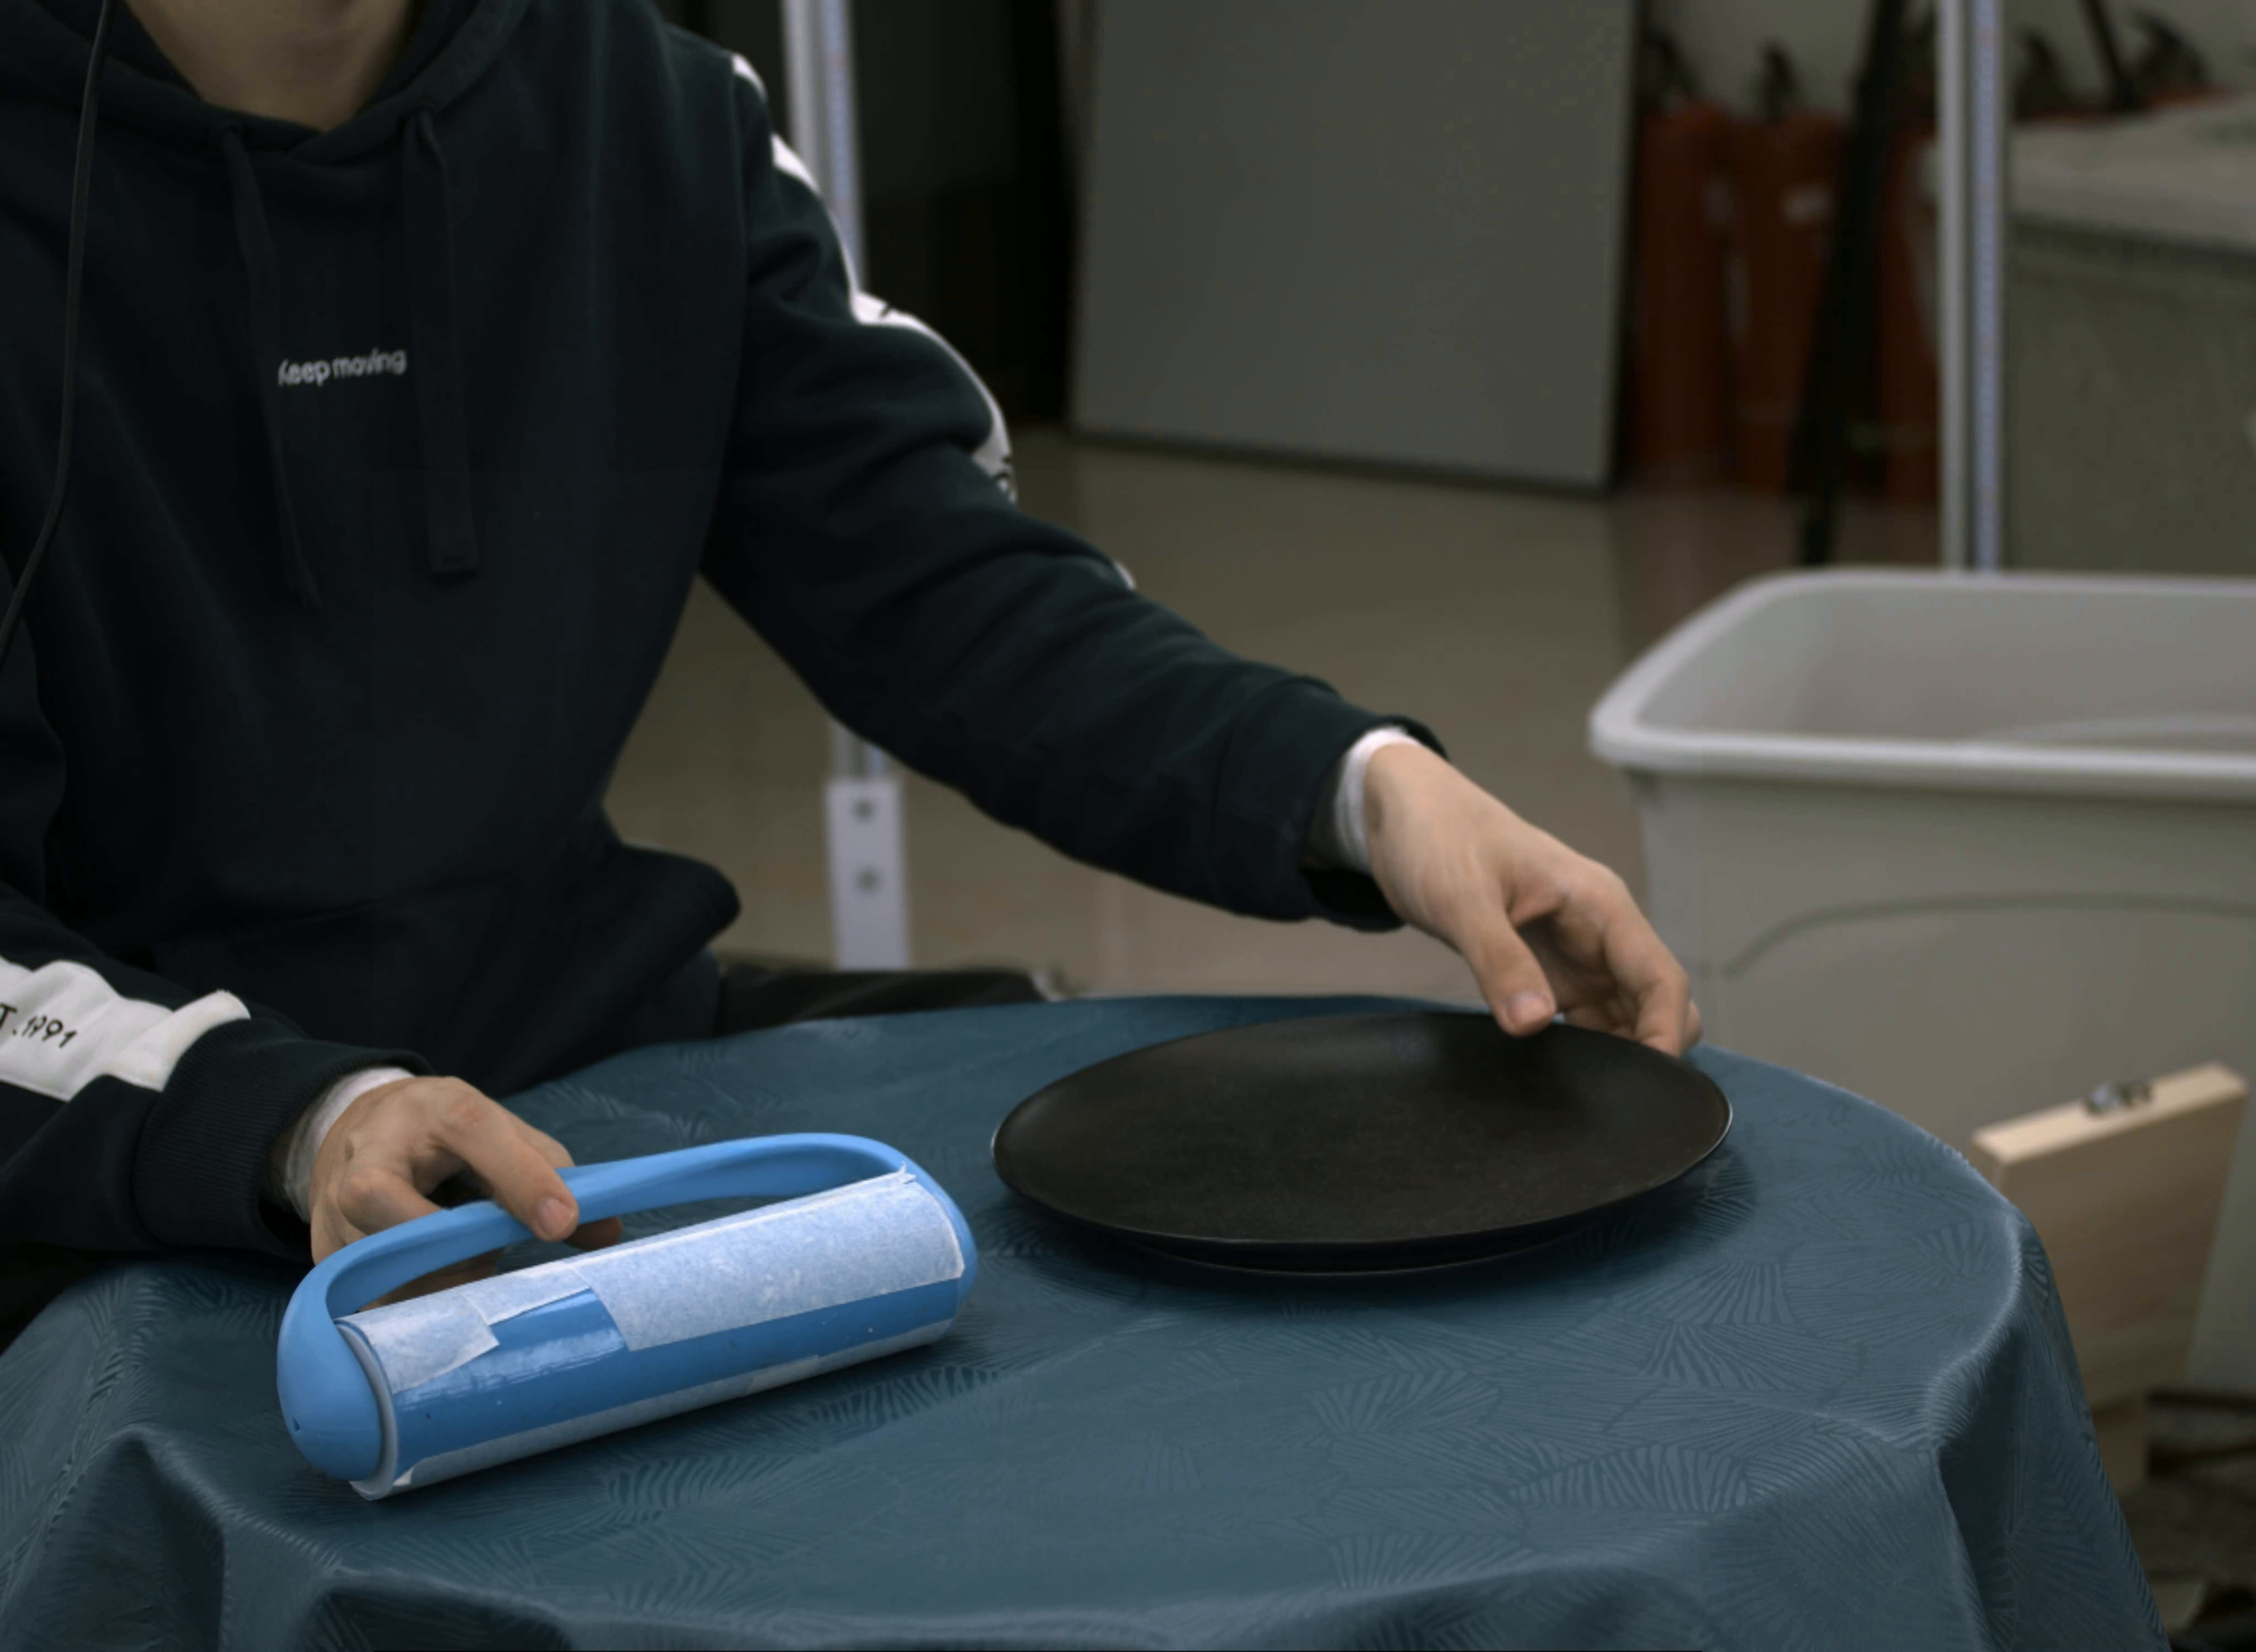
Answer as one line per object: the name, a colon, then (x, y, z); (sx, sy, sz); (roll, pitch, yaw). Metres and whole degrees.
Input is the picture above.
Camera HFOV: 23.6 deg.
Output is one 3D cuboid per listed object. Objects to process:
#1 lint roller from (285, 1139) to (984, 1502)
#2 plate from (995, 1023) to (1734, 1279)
lint roller: (-0.175, 0.139, 1.634); (0.224, 0.068, 0.182); (-15, 16, -34)
plate: (0.077, 0.108, 1.756); (0.241, 0.024, 0.245); (-4, 14, 0)
